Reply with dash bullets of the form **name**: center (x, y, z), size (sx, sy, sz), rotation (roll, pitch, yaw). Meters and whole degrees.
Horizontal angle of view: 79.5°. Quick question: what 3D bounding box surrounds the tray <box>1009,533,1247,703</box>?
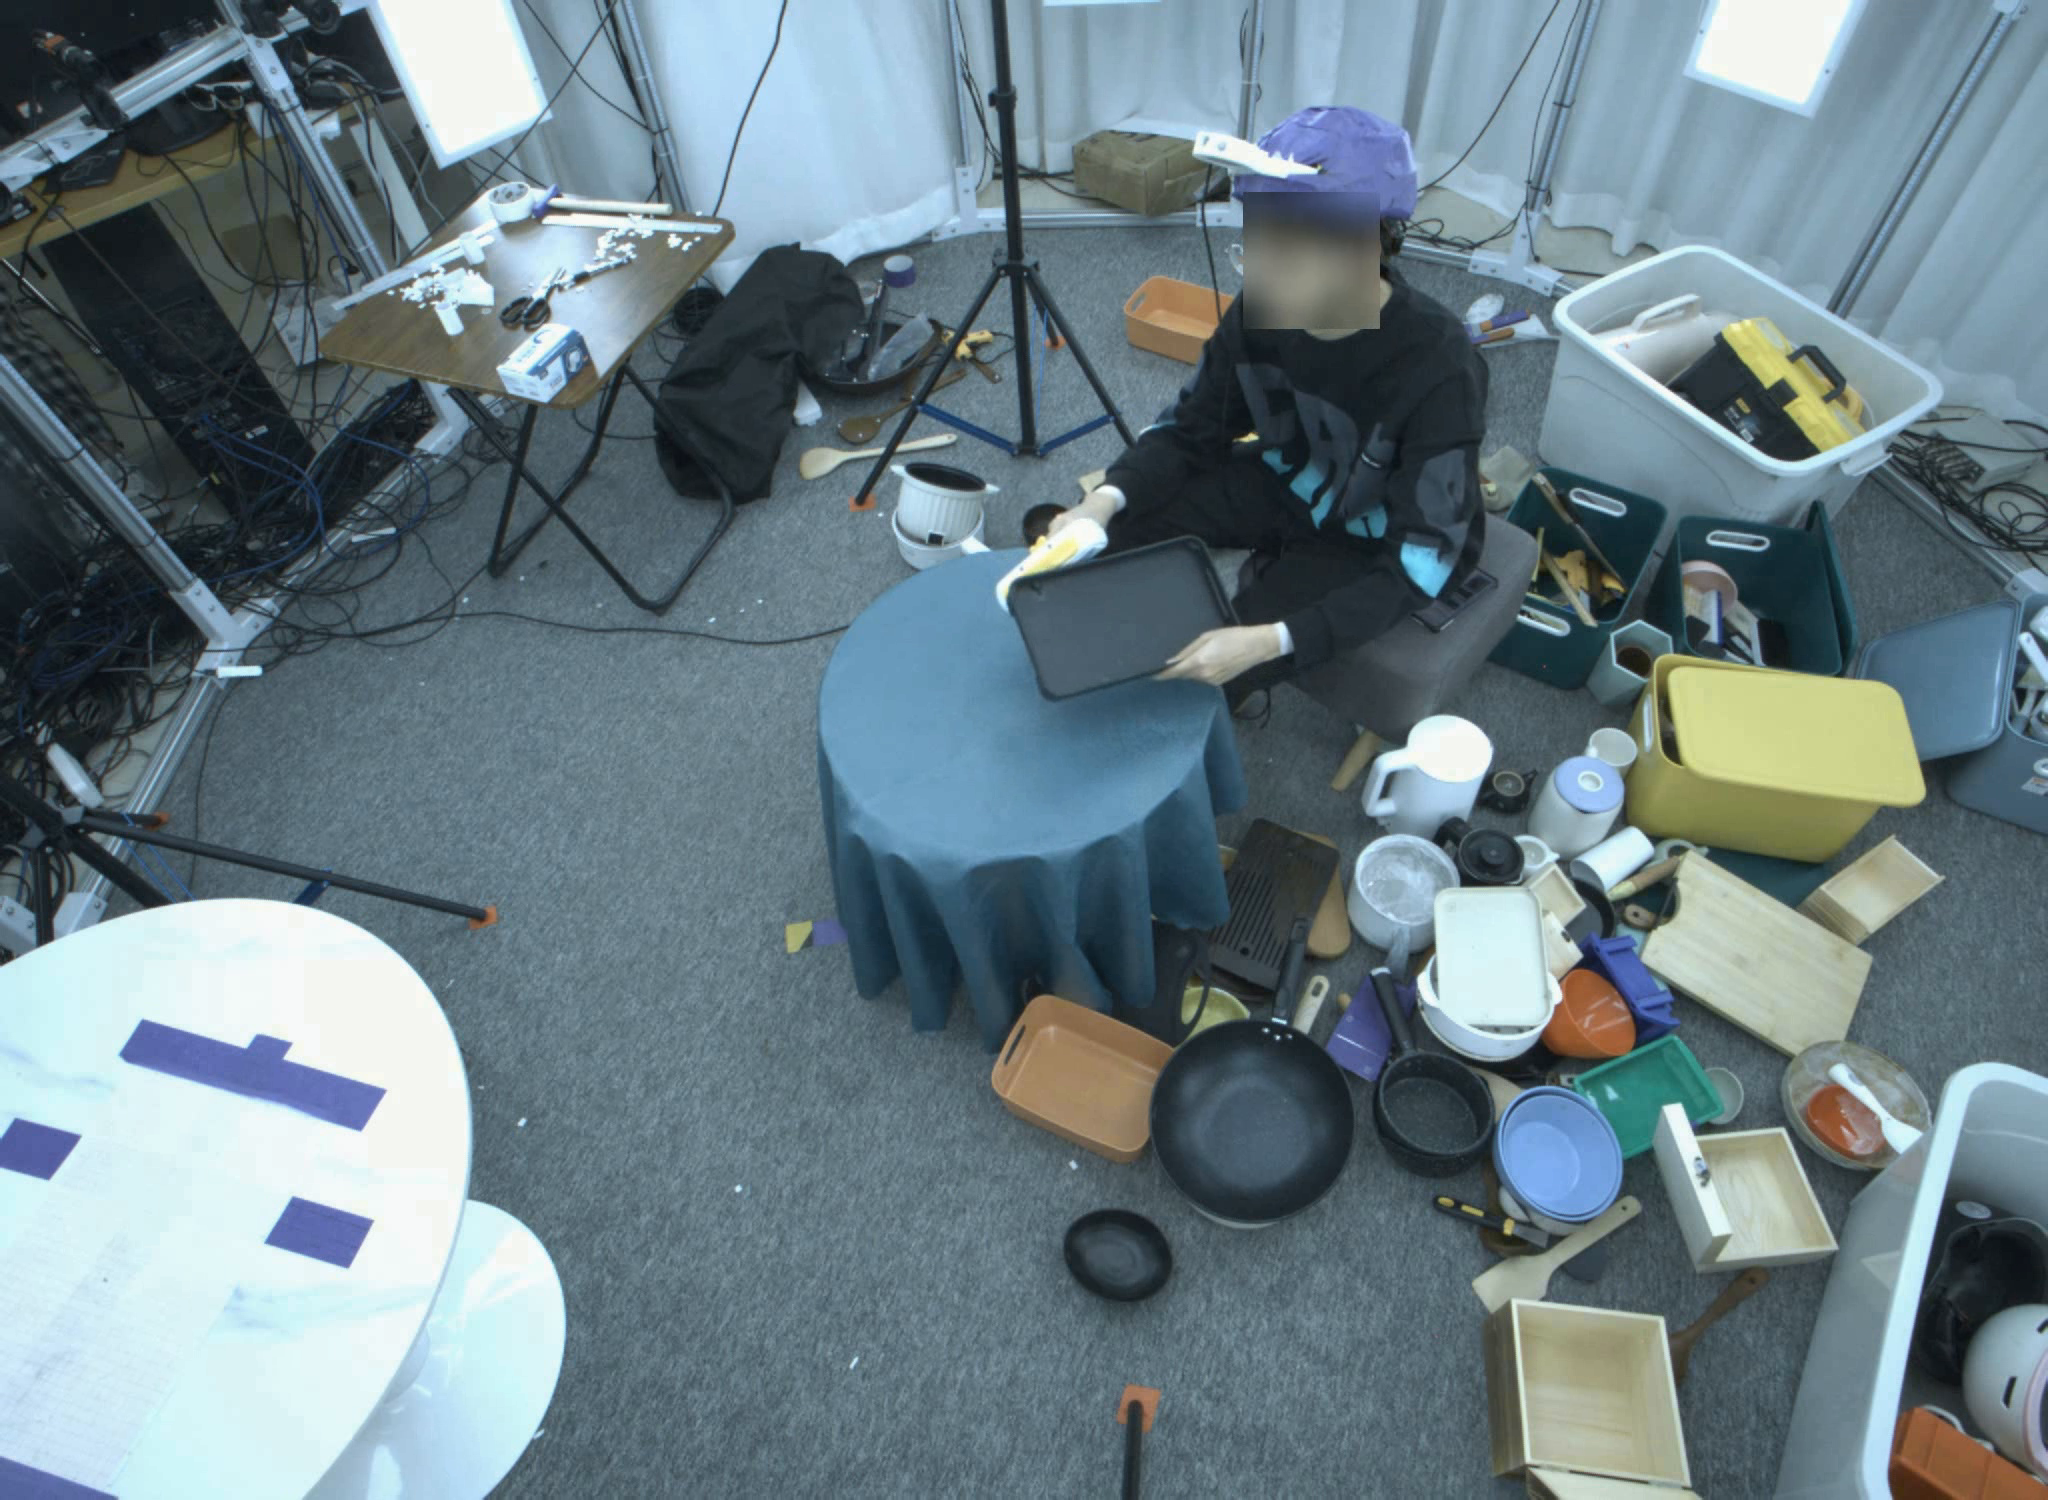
- **tray**: center (0.148, -0.191, 1.751), size (0.321, 0.037, 0.183), rotation (-18, 79, -19)

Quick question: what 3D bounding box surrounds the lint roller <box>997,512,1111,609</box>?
- **lint roller**: center (0.058, -0.293, 1.823), size (0.074, 0.191, 0.194), rotation (51, 27, 2)
